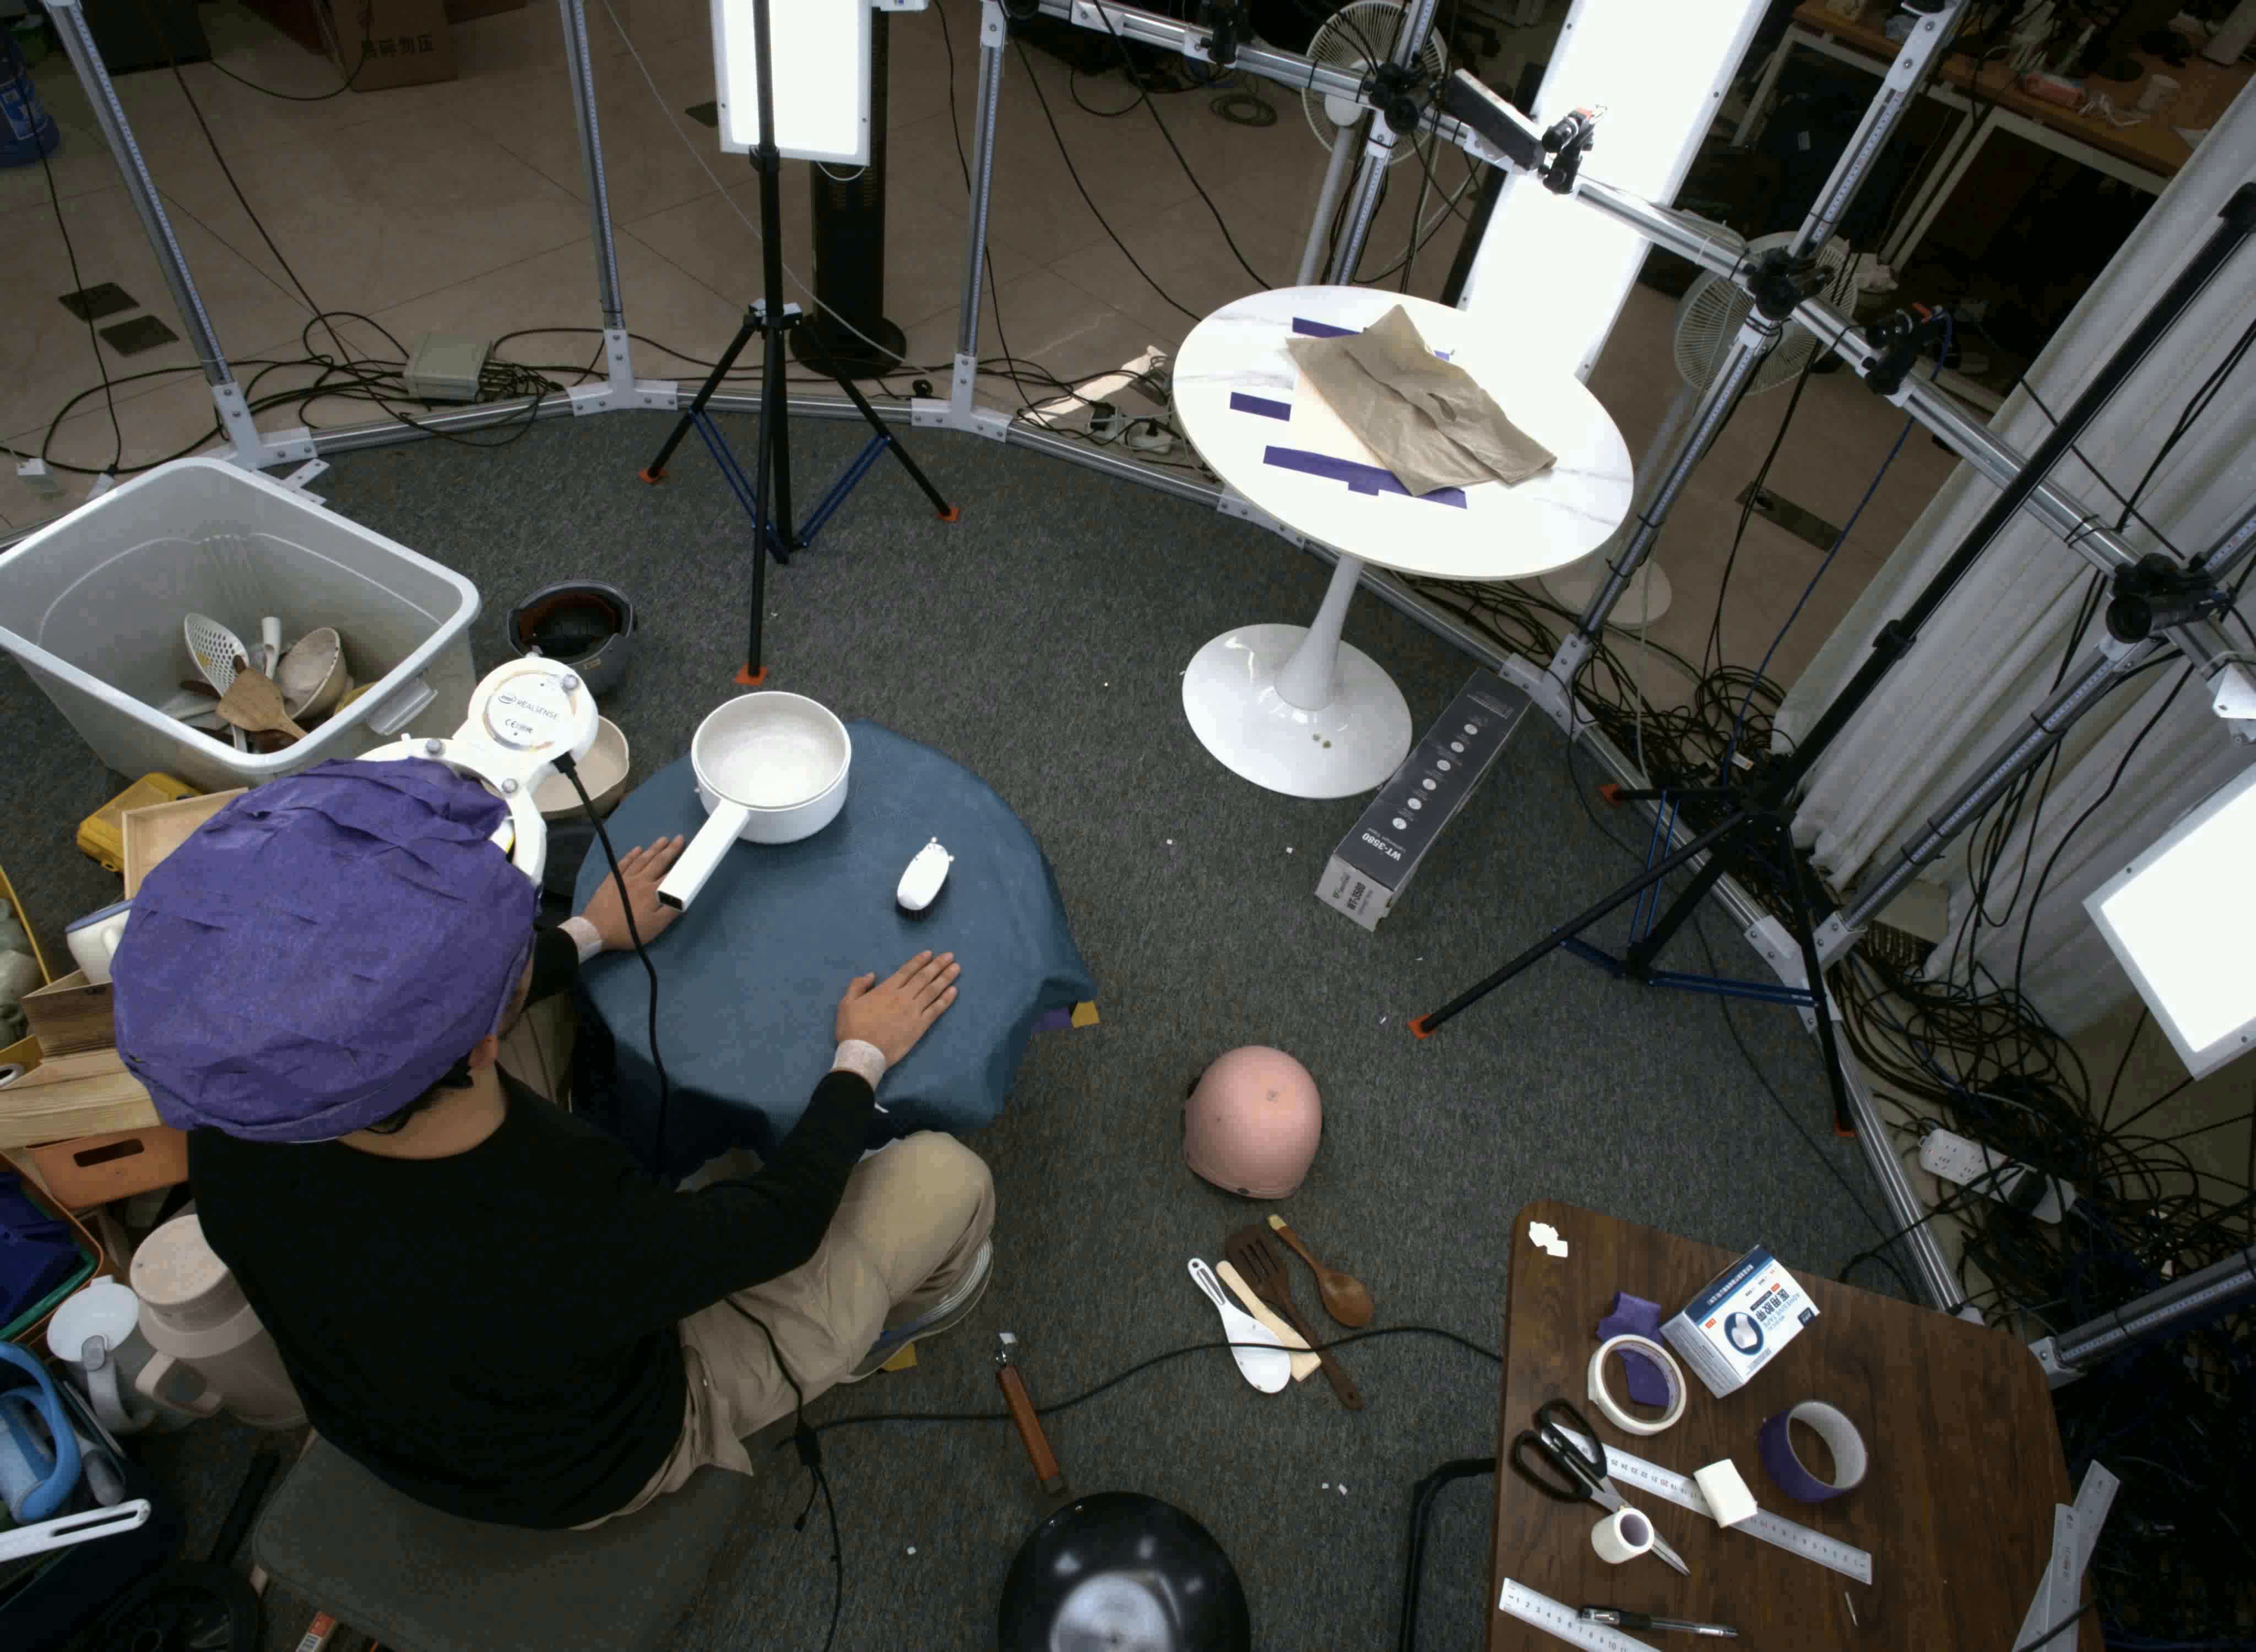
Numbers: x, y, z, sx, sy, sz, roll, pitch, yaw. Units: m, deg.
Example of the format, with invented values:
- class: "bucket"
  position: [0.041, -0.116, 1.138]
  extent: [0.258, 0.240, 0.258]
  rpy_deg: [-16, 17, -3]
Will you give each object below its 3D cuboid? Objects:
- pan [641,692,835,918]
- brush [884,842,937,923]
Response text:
- class: "pan"
  position: [-0.508, -0.013, 1.646]
  extent: [0.199, 0.104, 0.351]
  rpy_deg: [22, 52, 0]
- class: "brush"
  position: [-0.277, 0.064, 1.663]
  extent: [0.049, 0.074, 0.098]
  rpy_deg: [20, 51, 4]
